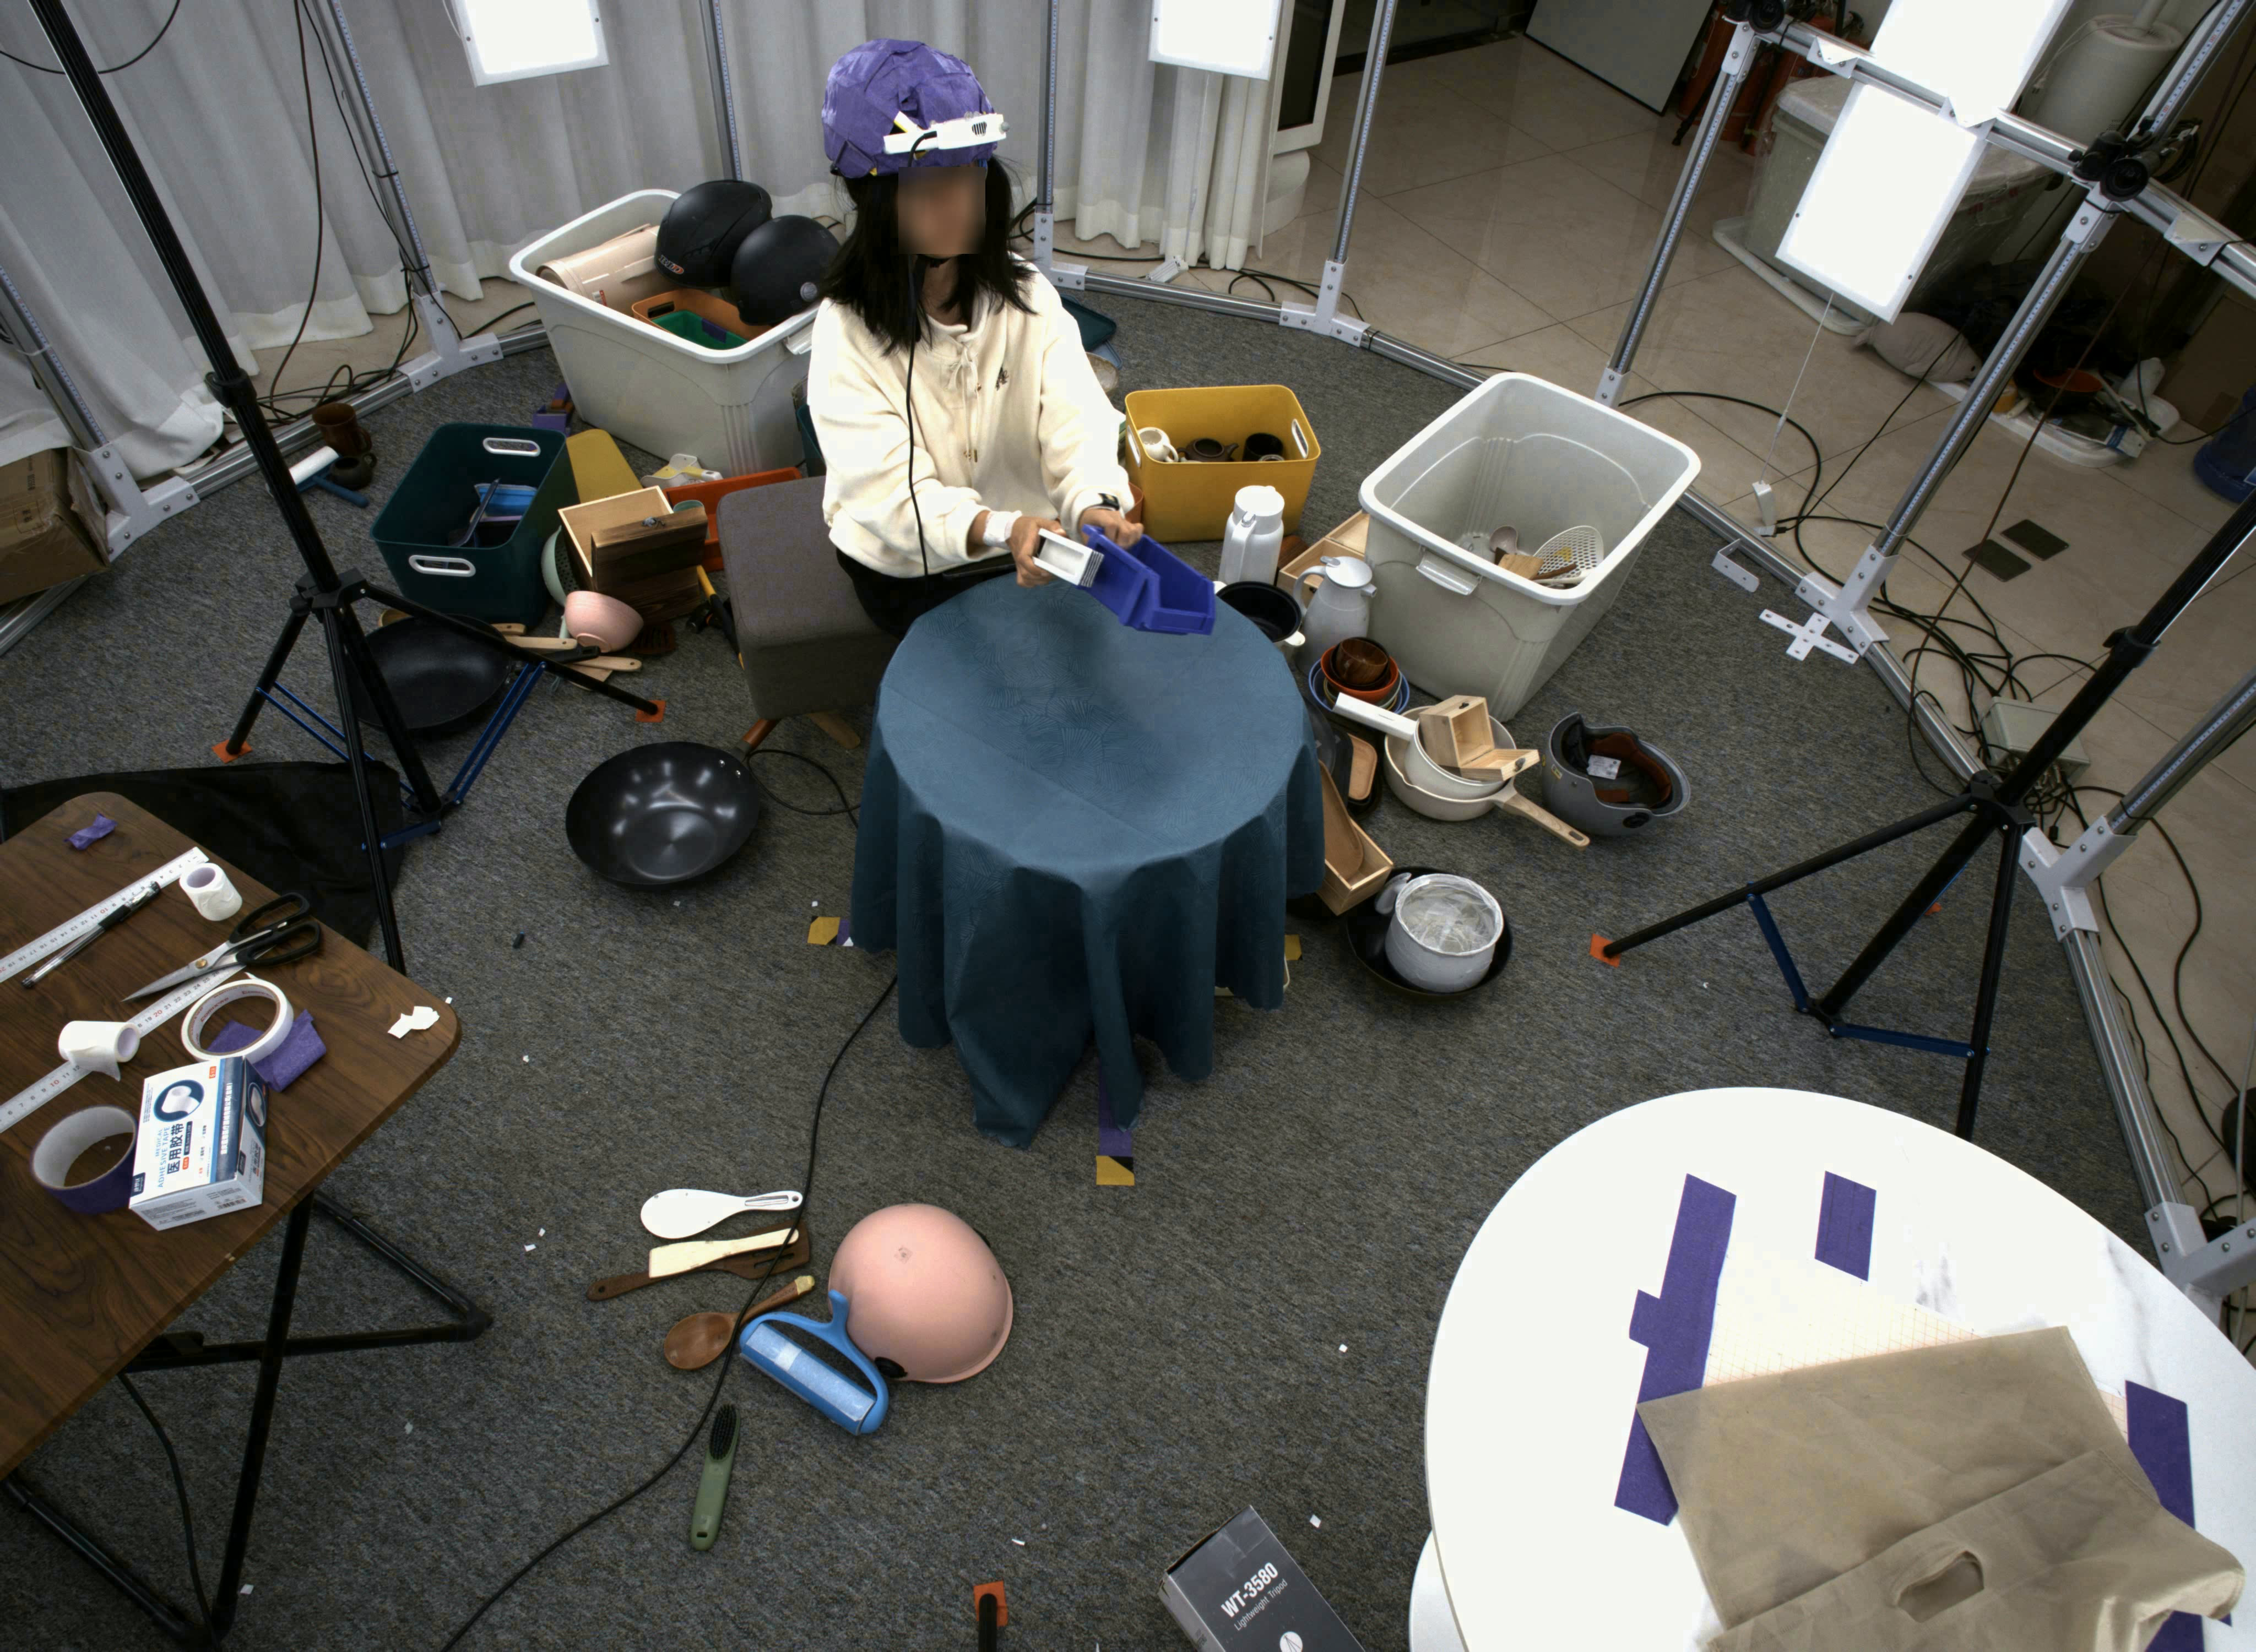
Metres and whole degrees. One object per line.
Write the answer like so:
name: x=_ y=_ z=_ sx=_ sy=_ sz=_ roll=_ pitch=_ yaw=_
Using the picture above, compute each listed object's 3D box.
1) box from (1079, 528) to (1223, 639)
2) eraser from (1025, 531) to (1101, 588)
box: x=0.033 y=-0.313 z=1.700 sx=0.124 sy=0.081 sz=0.183 roll=0 pitch=32 yaw=-43
eraser: x=-0.086 y=-0.354 z=1.707 sx=0.046 sy=0.049 sz=0.136 roll=17 pitch=9 yaw=-31
